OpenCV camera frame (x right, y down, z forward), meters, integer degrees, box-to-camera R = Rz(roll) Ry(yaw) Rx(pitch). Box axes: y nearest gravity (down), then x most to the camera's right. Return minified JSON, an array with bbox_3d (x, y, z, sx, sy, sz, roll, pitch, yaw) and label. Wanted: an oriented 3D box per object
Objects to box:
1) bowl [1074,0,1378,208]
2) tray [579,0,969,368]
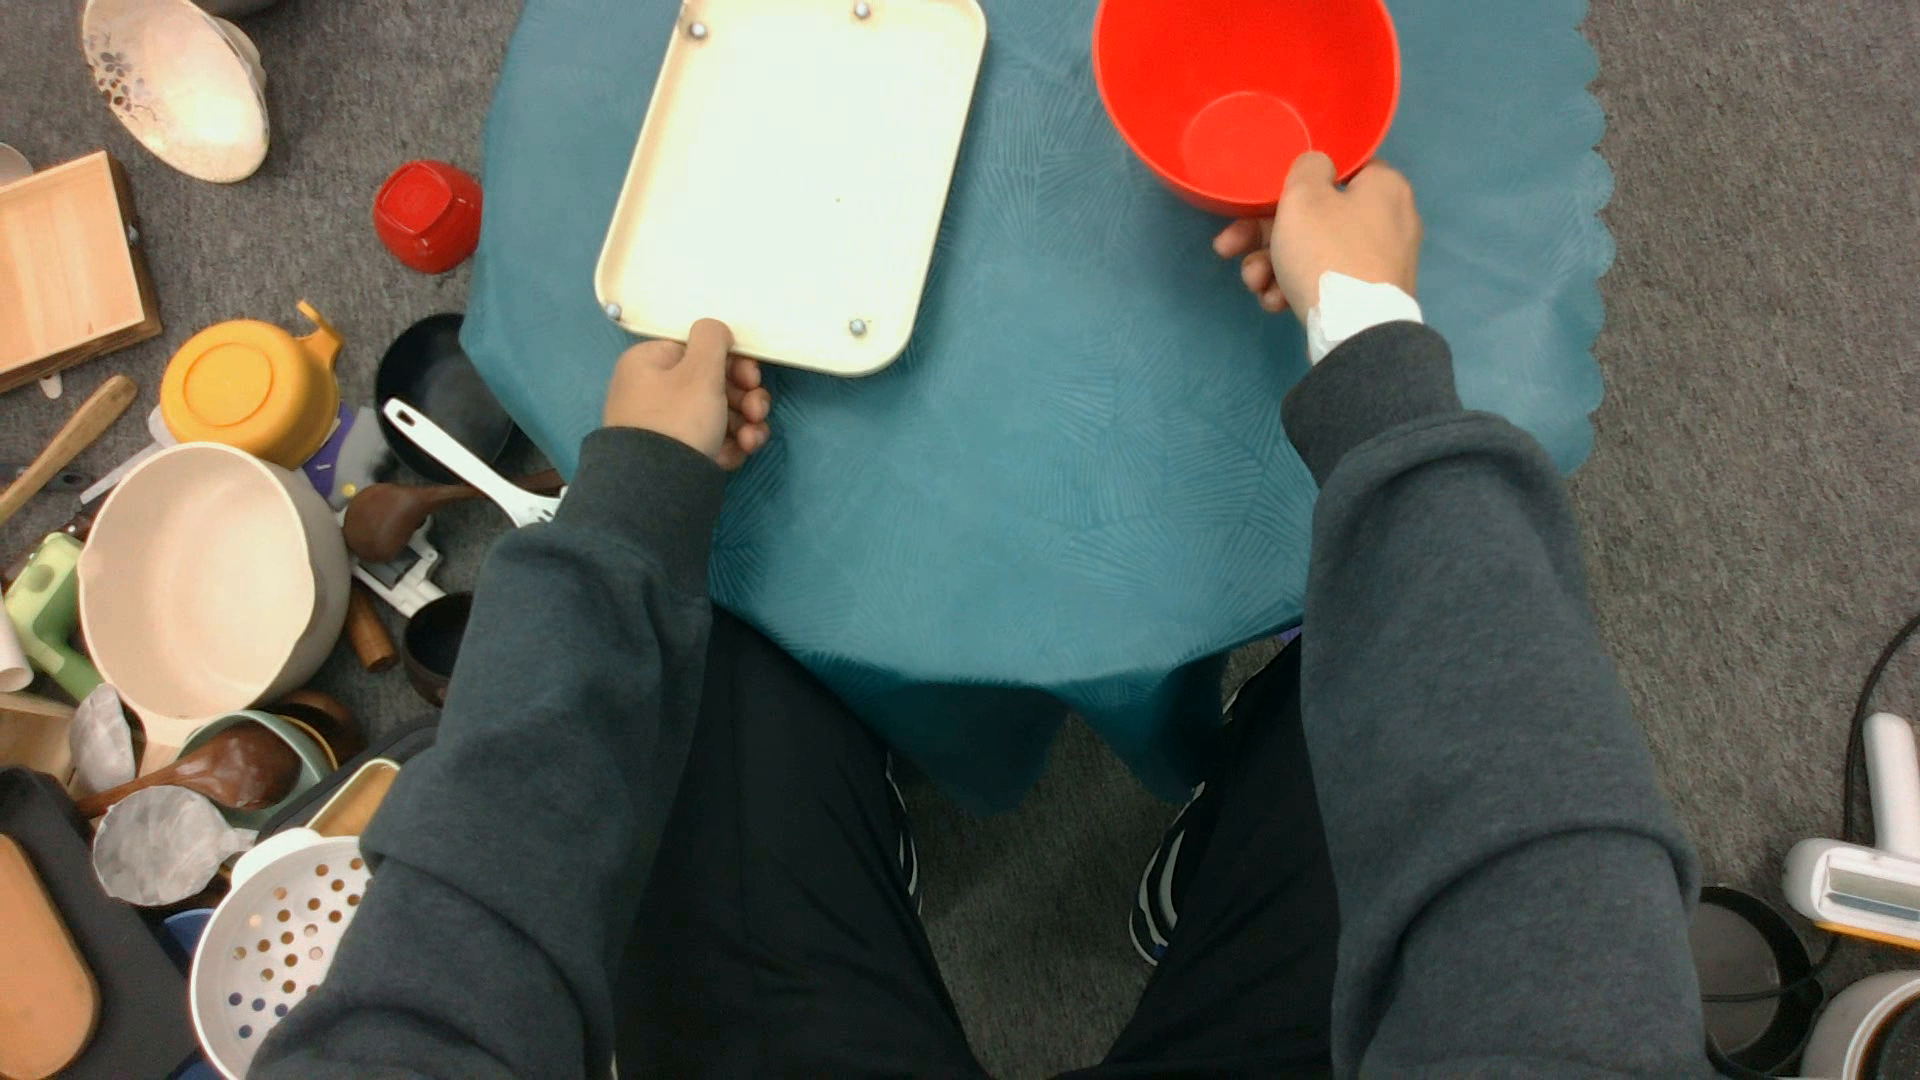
[{"bbox_3d":[0.132,-0.228,0.700,0.148,0.104,0.148,-1,78,4],"label":"bowl"},{"bbox_3d":[-0.096,-0.210,0.743,0.171,0.017,0.240,12,73,4],"label":"tray"}]
